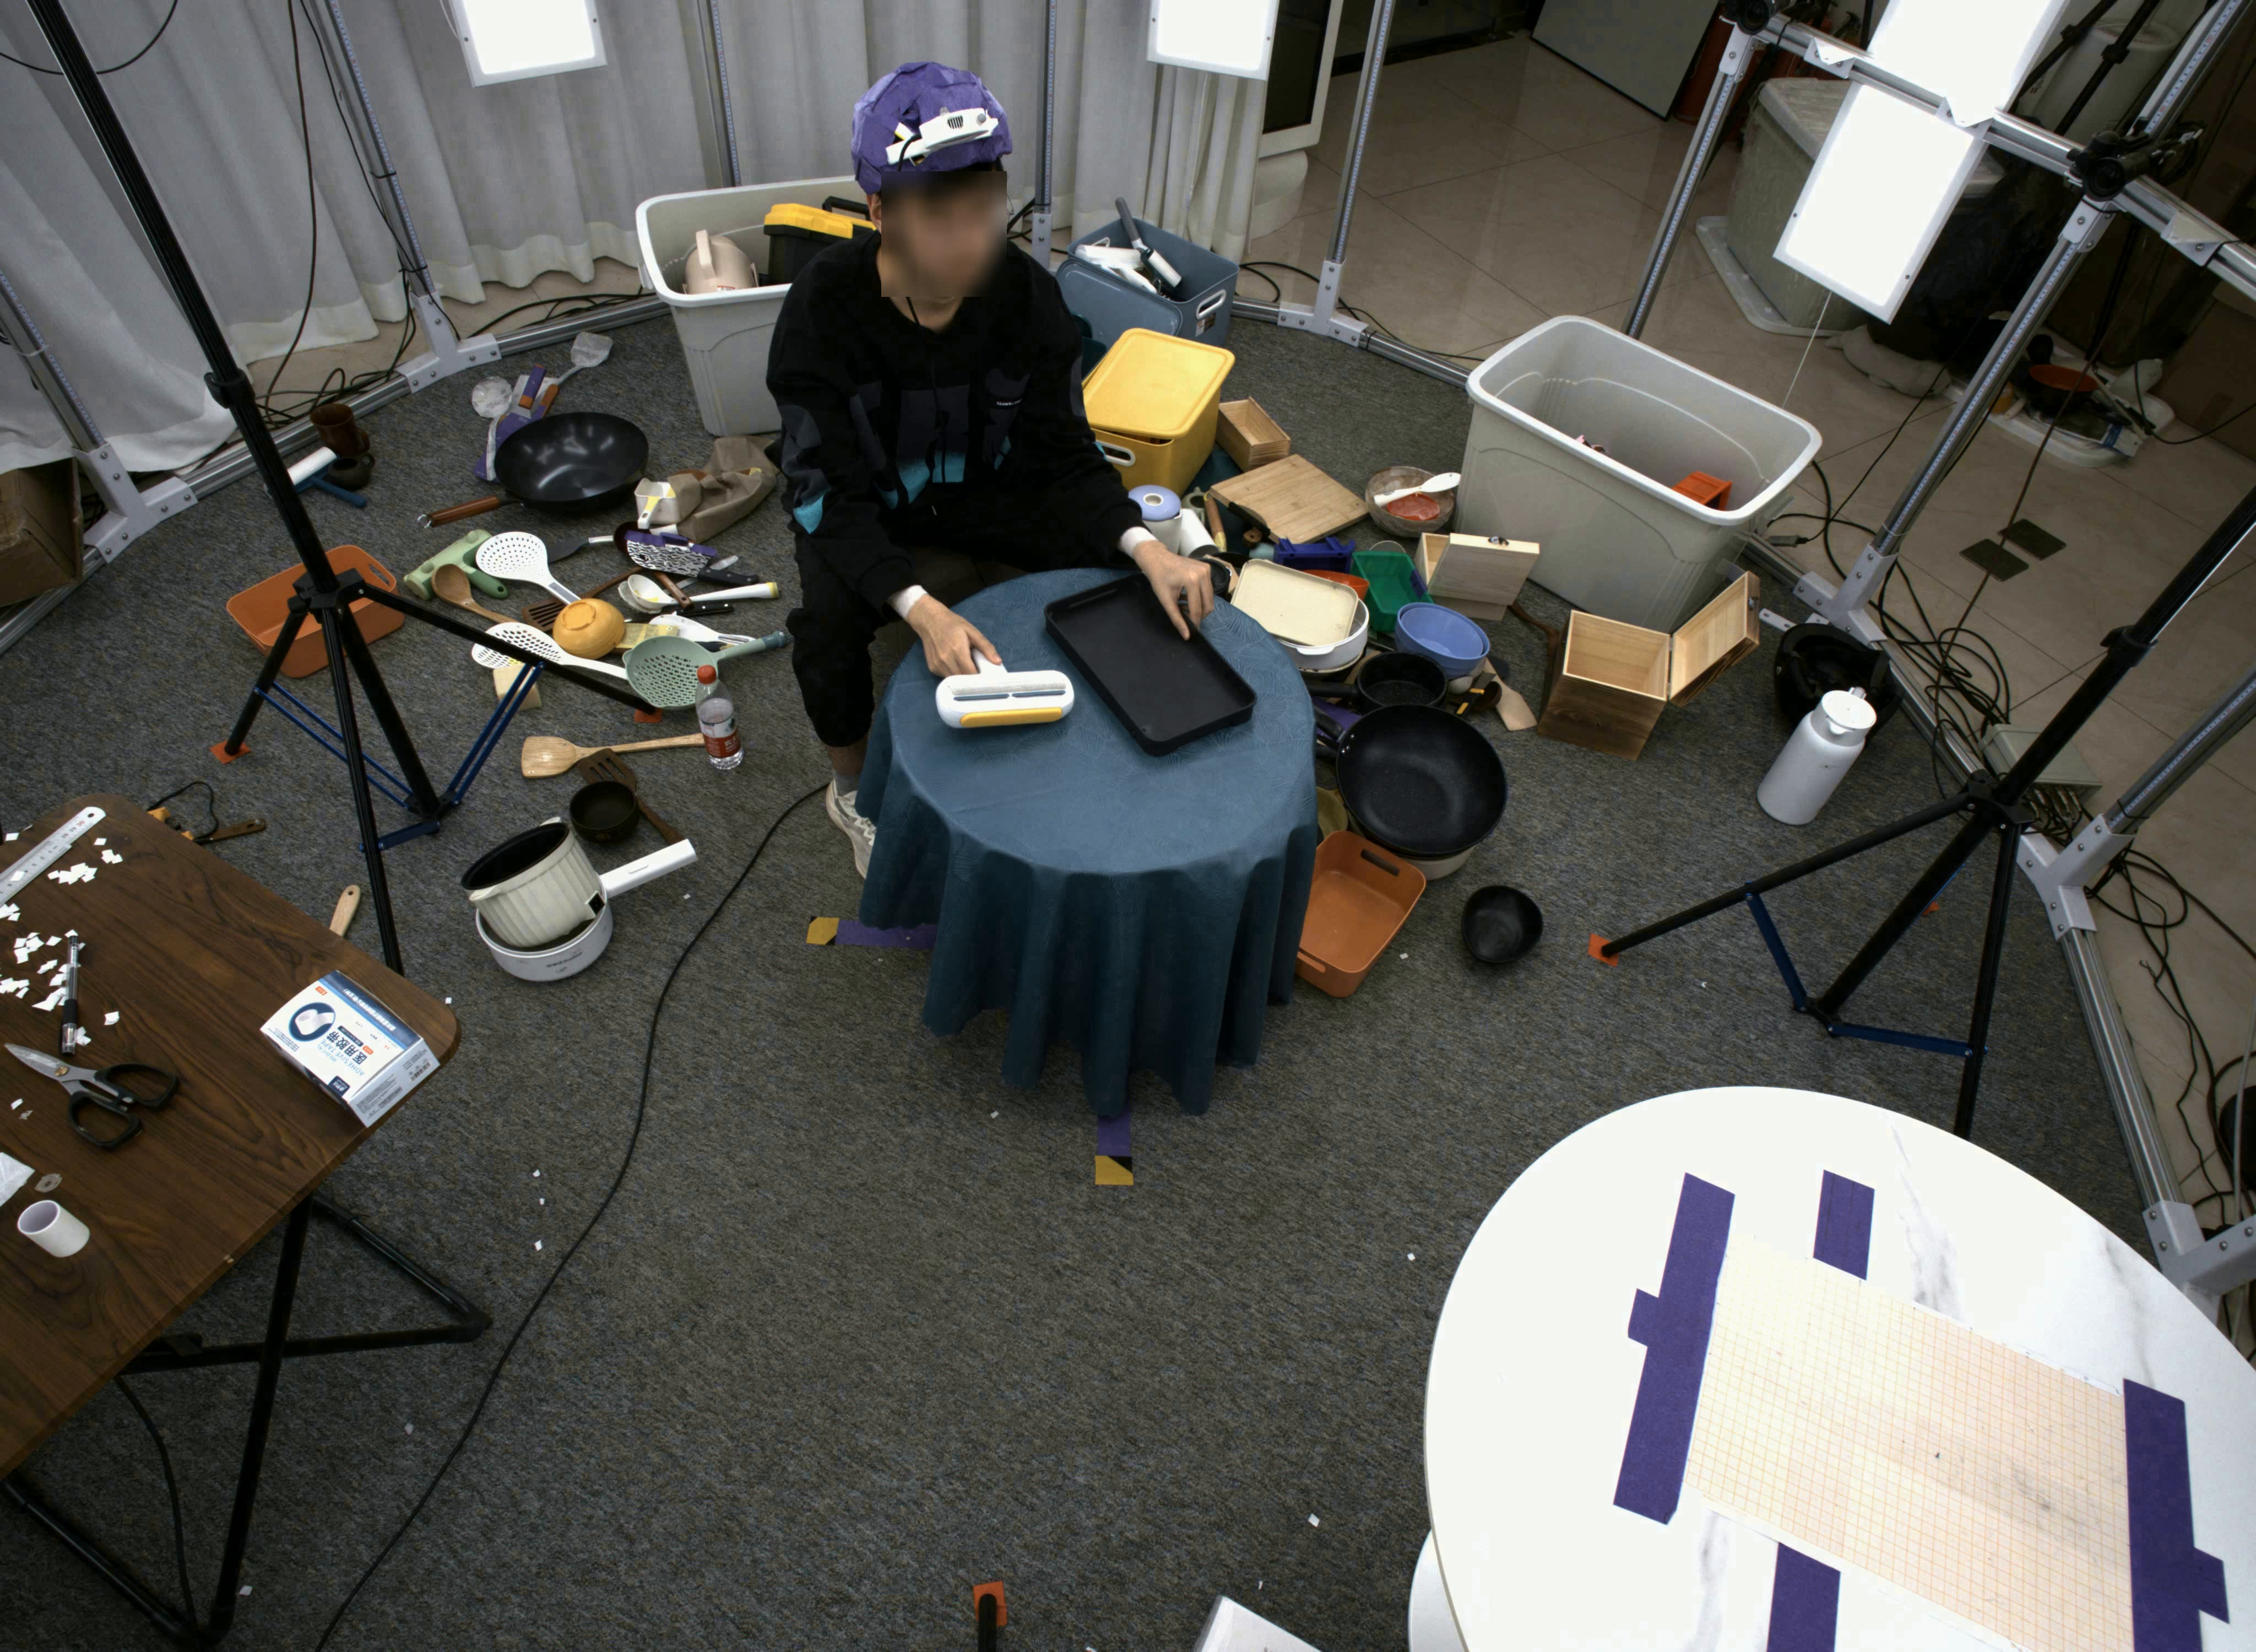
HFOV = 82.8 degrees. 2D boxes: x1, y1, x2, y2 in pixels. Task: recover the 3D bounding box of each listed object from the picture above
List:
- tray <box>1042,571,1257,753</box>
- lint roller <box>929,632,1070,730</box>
[{"bbox_3d":[0.027,-0.243,1.857,0.185,0.036,0.324,-24,55,-22],"label":"tray"},{"bbox_3d":[-0.190,-0.214,1.792,0.192,0.072,0.197,-5,52,-17],"label":"lint roller"}]
